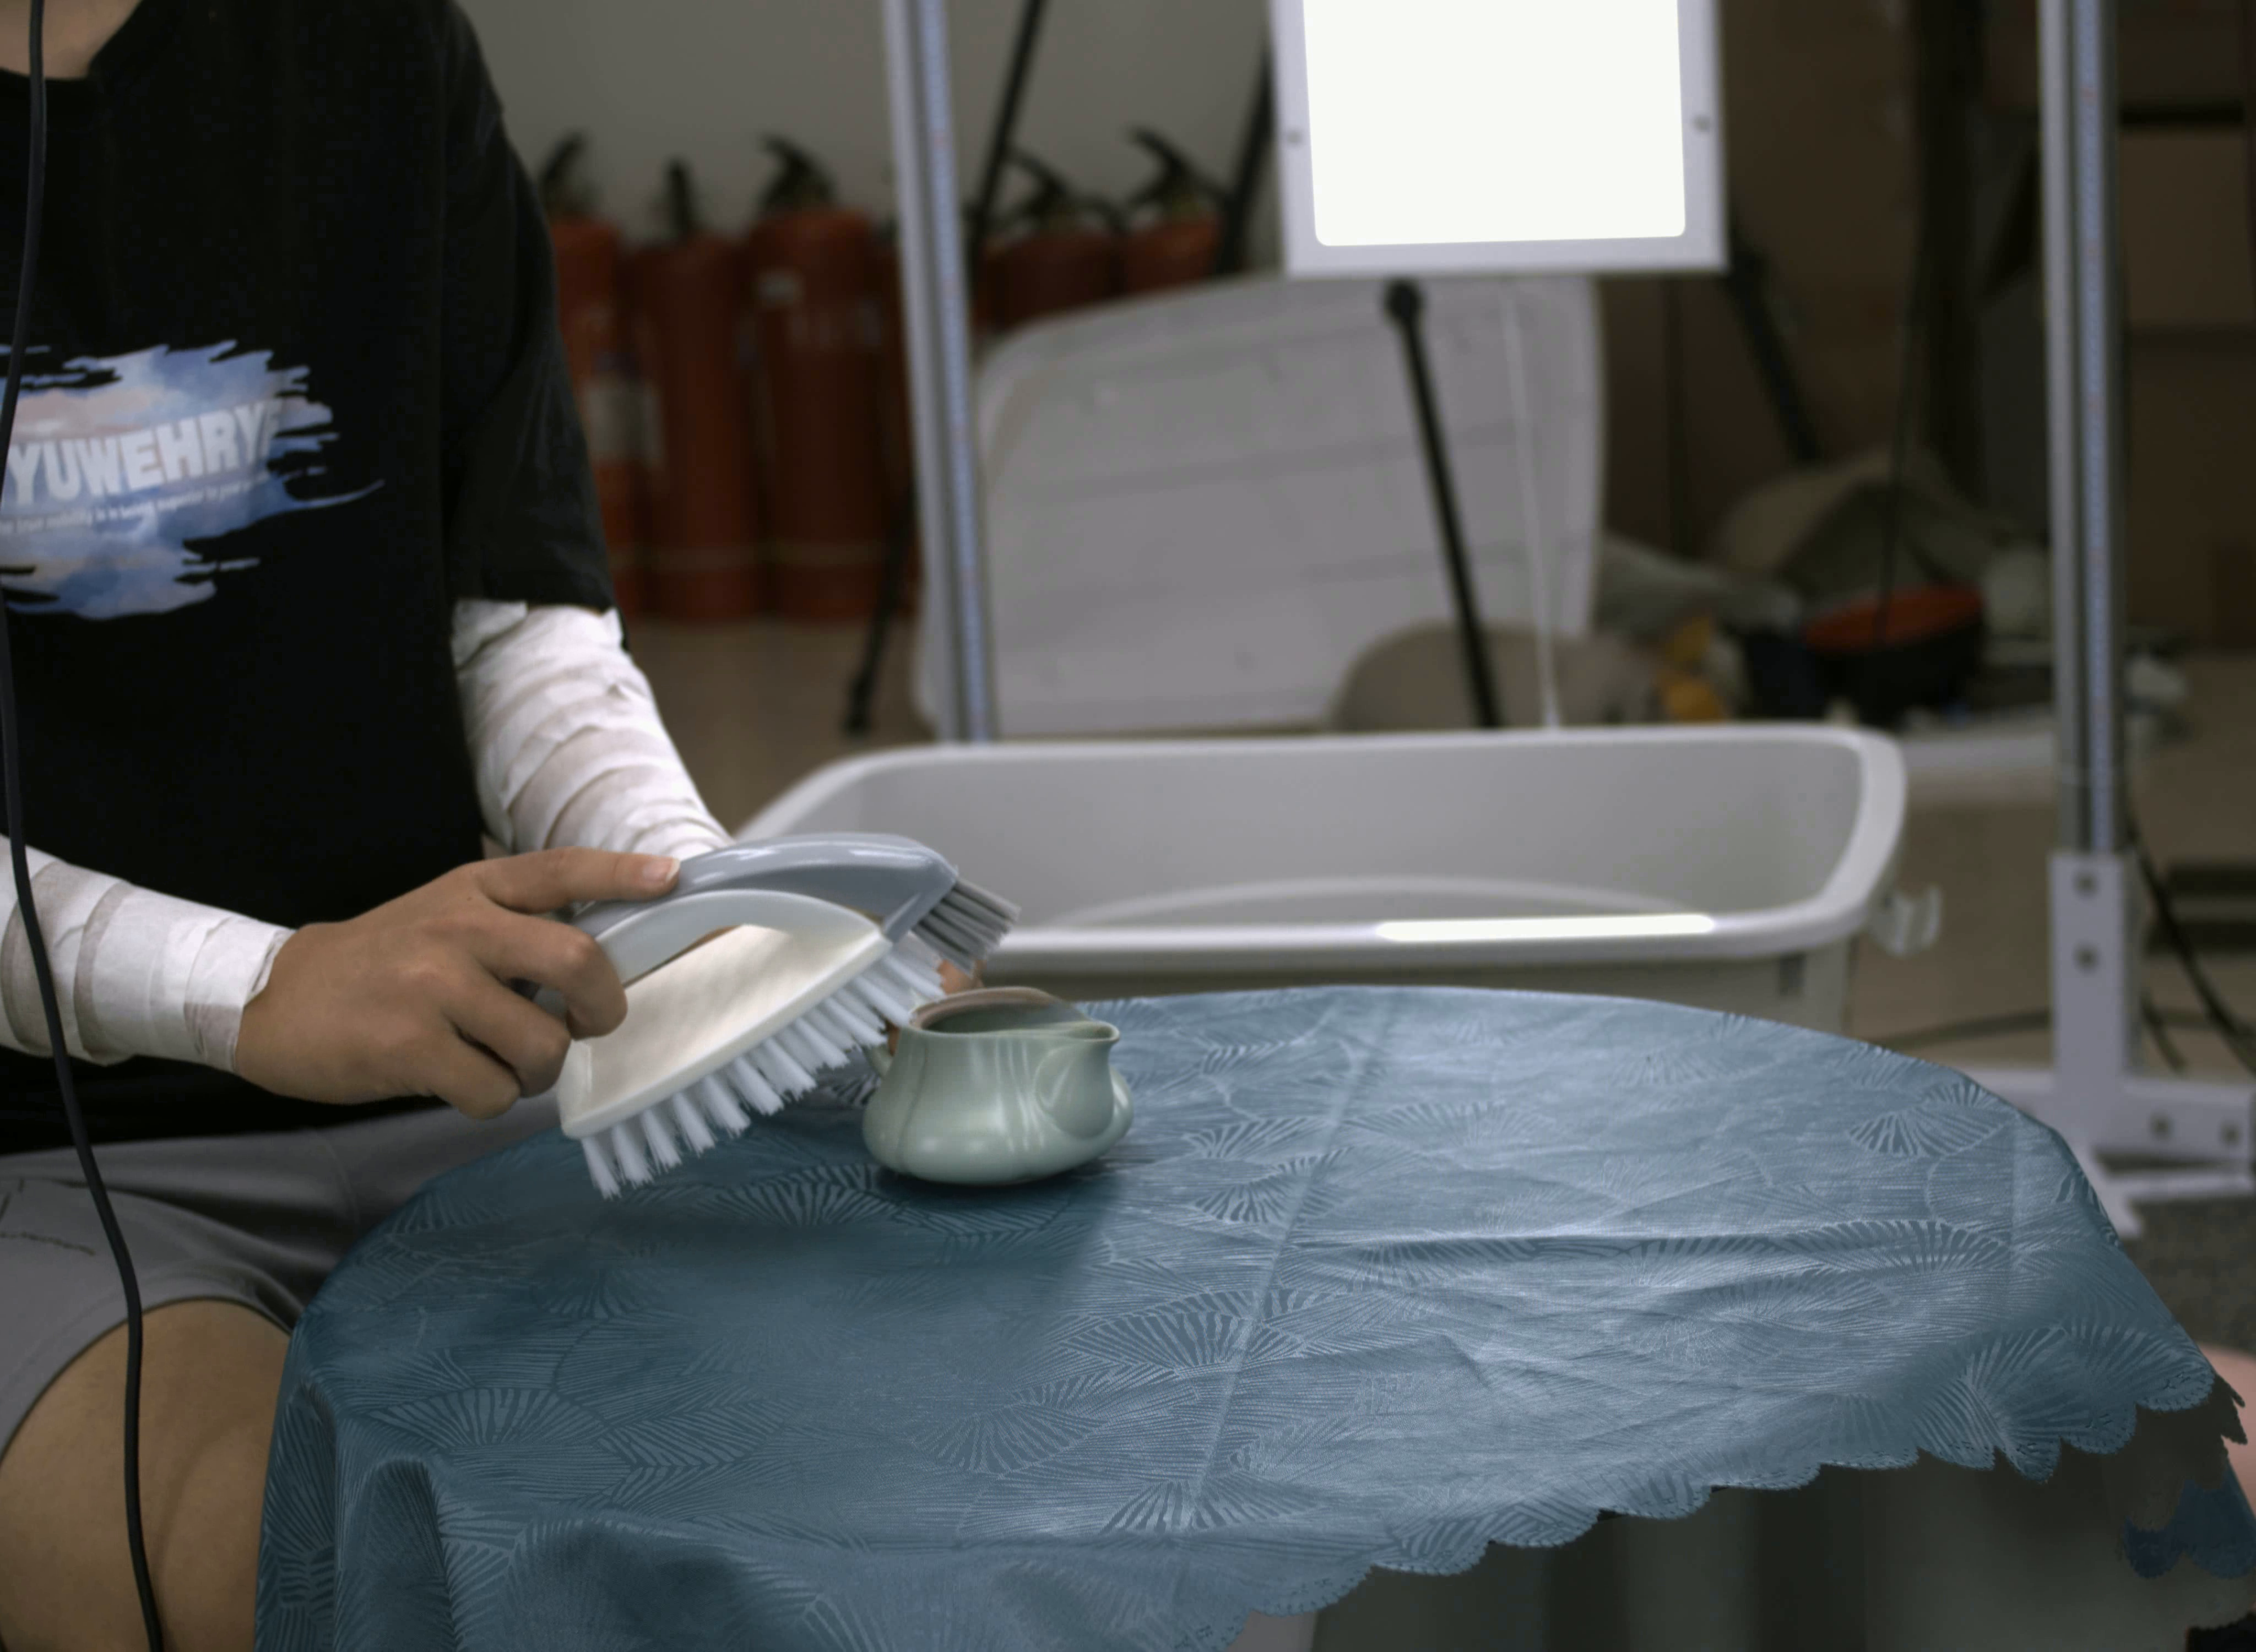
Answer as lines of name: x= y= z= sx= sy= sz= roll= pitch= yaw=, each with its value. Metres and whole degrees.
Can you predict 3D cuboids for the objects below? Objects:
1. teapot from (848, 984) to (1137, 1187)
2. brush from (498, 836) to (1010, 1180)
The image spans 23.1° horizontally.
teapot: x=-0.049 y=0.090 z=1.940 sx=0.094 sy=0.061 sz=0.140 roll=-20 pitch=20 yaw=-41
brush: x=-0.134 y=0.045 z=1.875 sx=0.177 sy=0.093 sz=0.061 roll=-26 pitch=38 yaw=17
